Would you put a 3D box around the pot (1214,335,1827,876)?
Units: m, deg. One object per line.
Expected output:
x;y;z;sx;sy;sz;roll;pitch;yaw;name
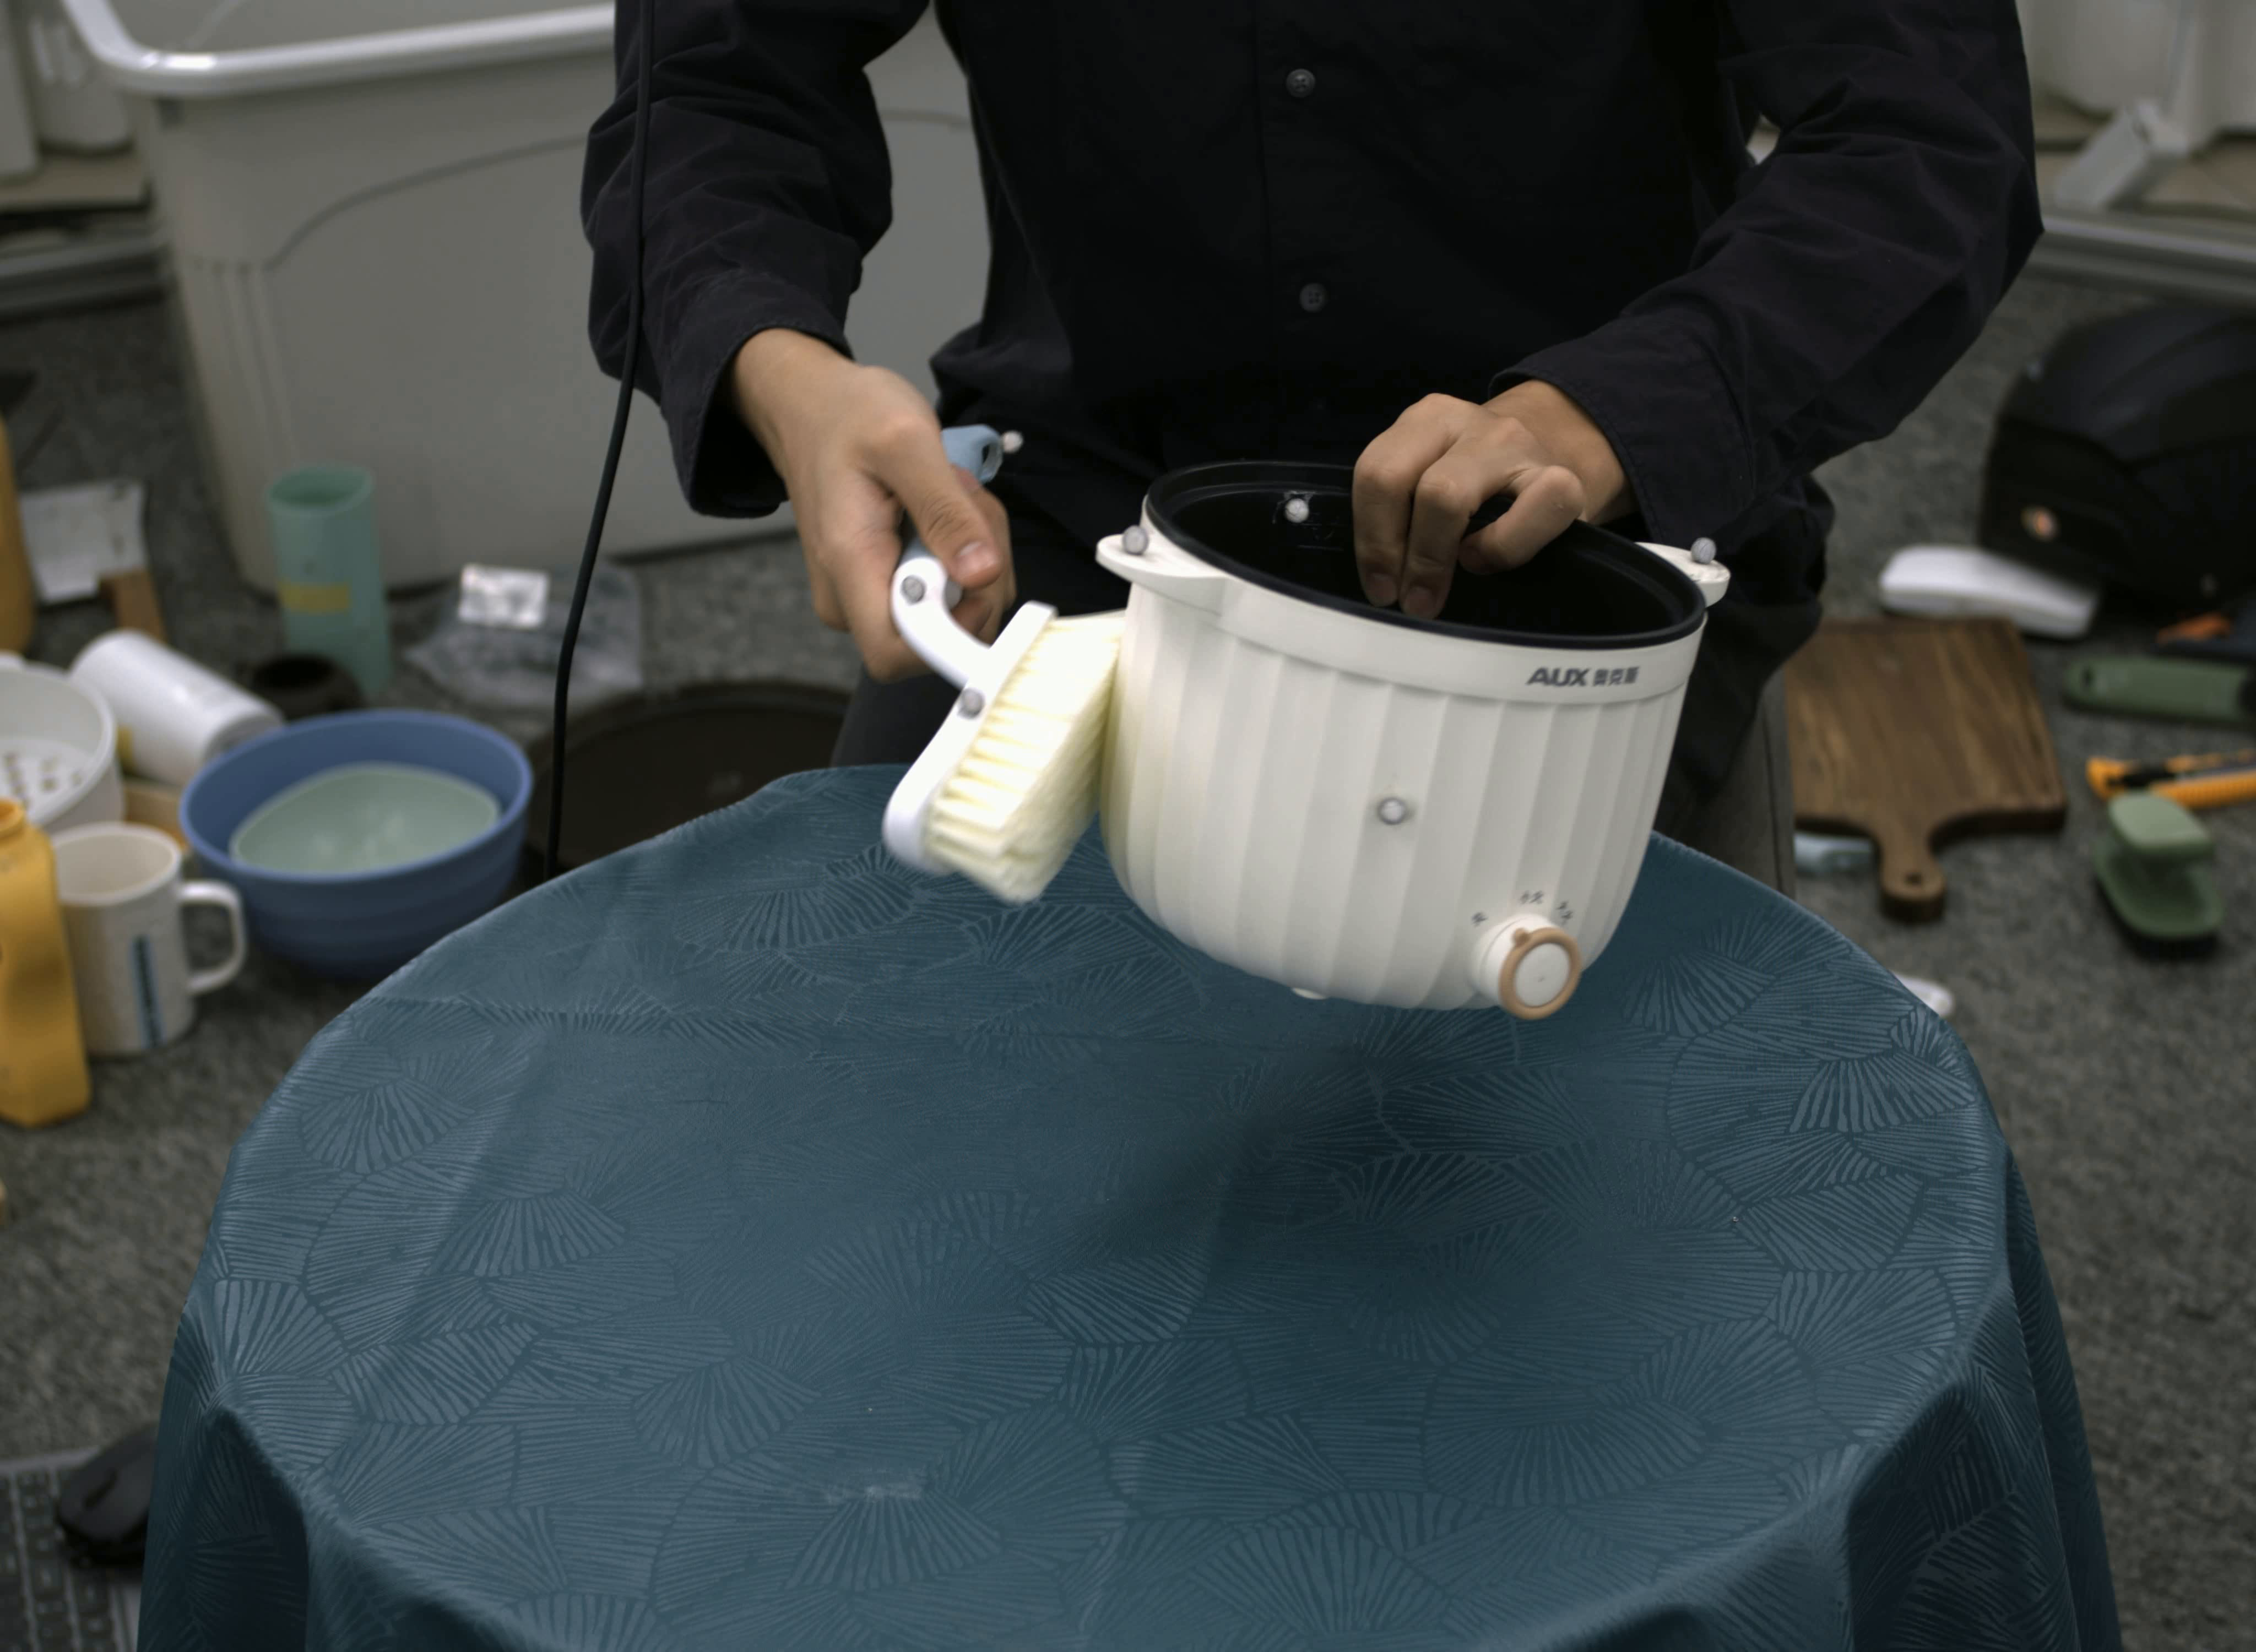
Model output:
0.122;-0.068;1.812;0.241;0.142;0.190;-3;18;-35;pot

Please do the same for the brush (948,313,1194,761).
-0.009;-0.108;1.891;0.082;0.084;0.330;-42;17;19;brush
